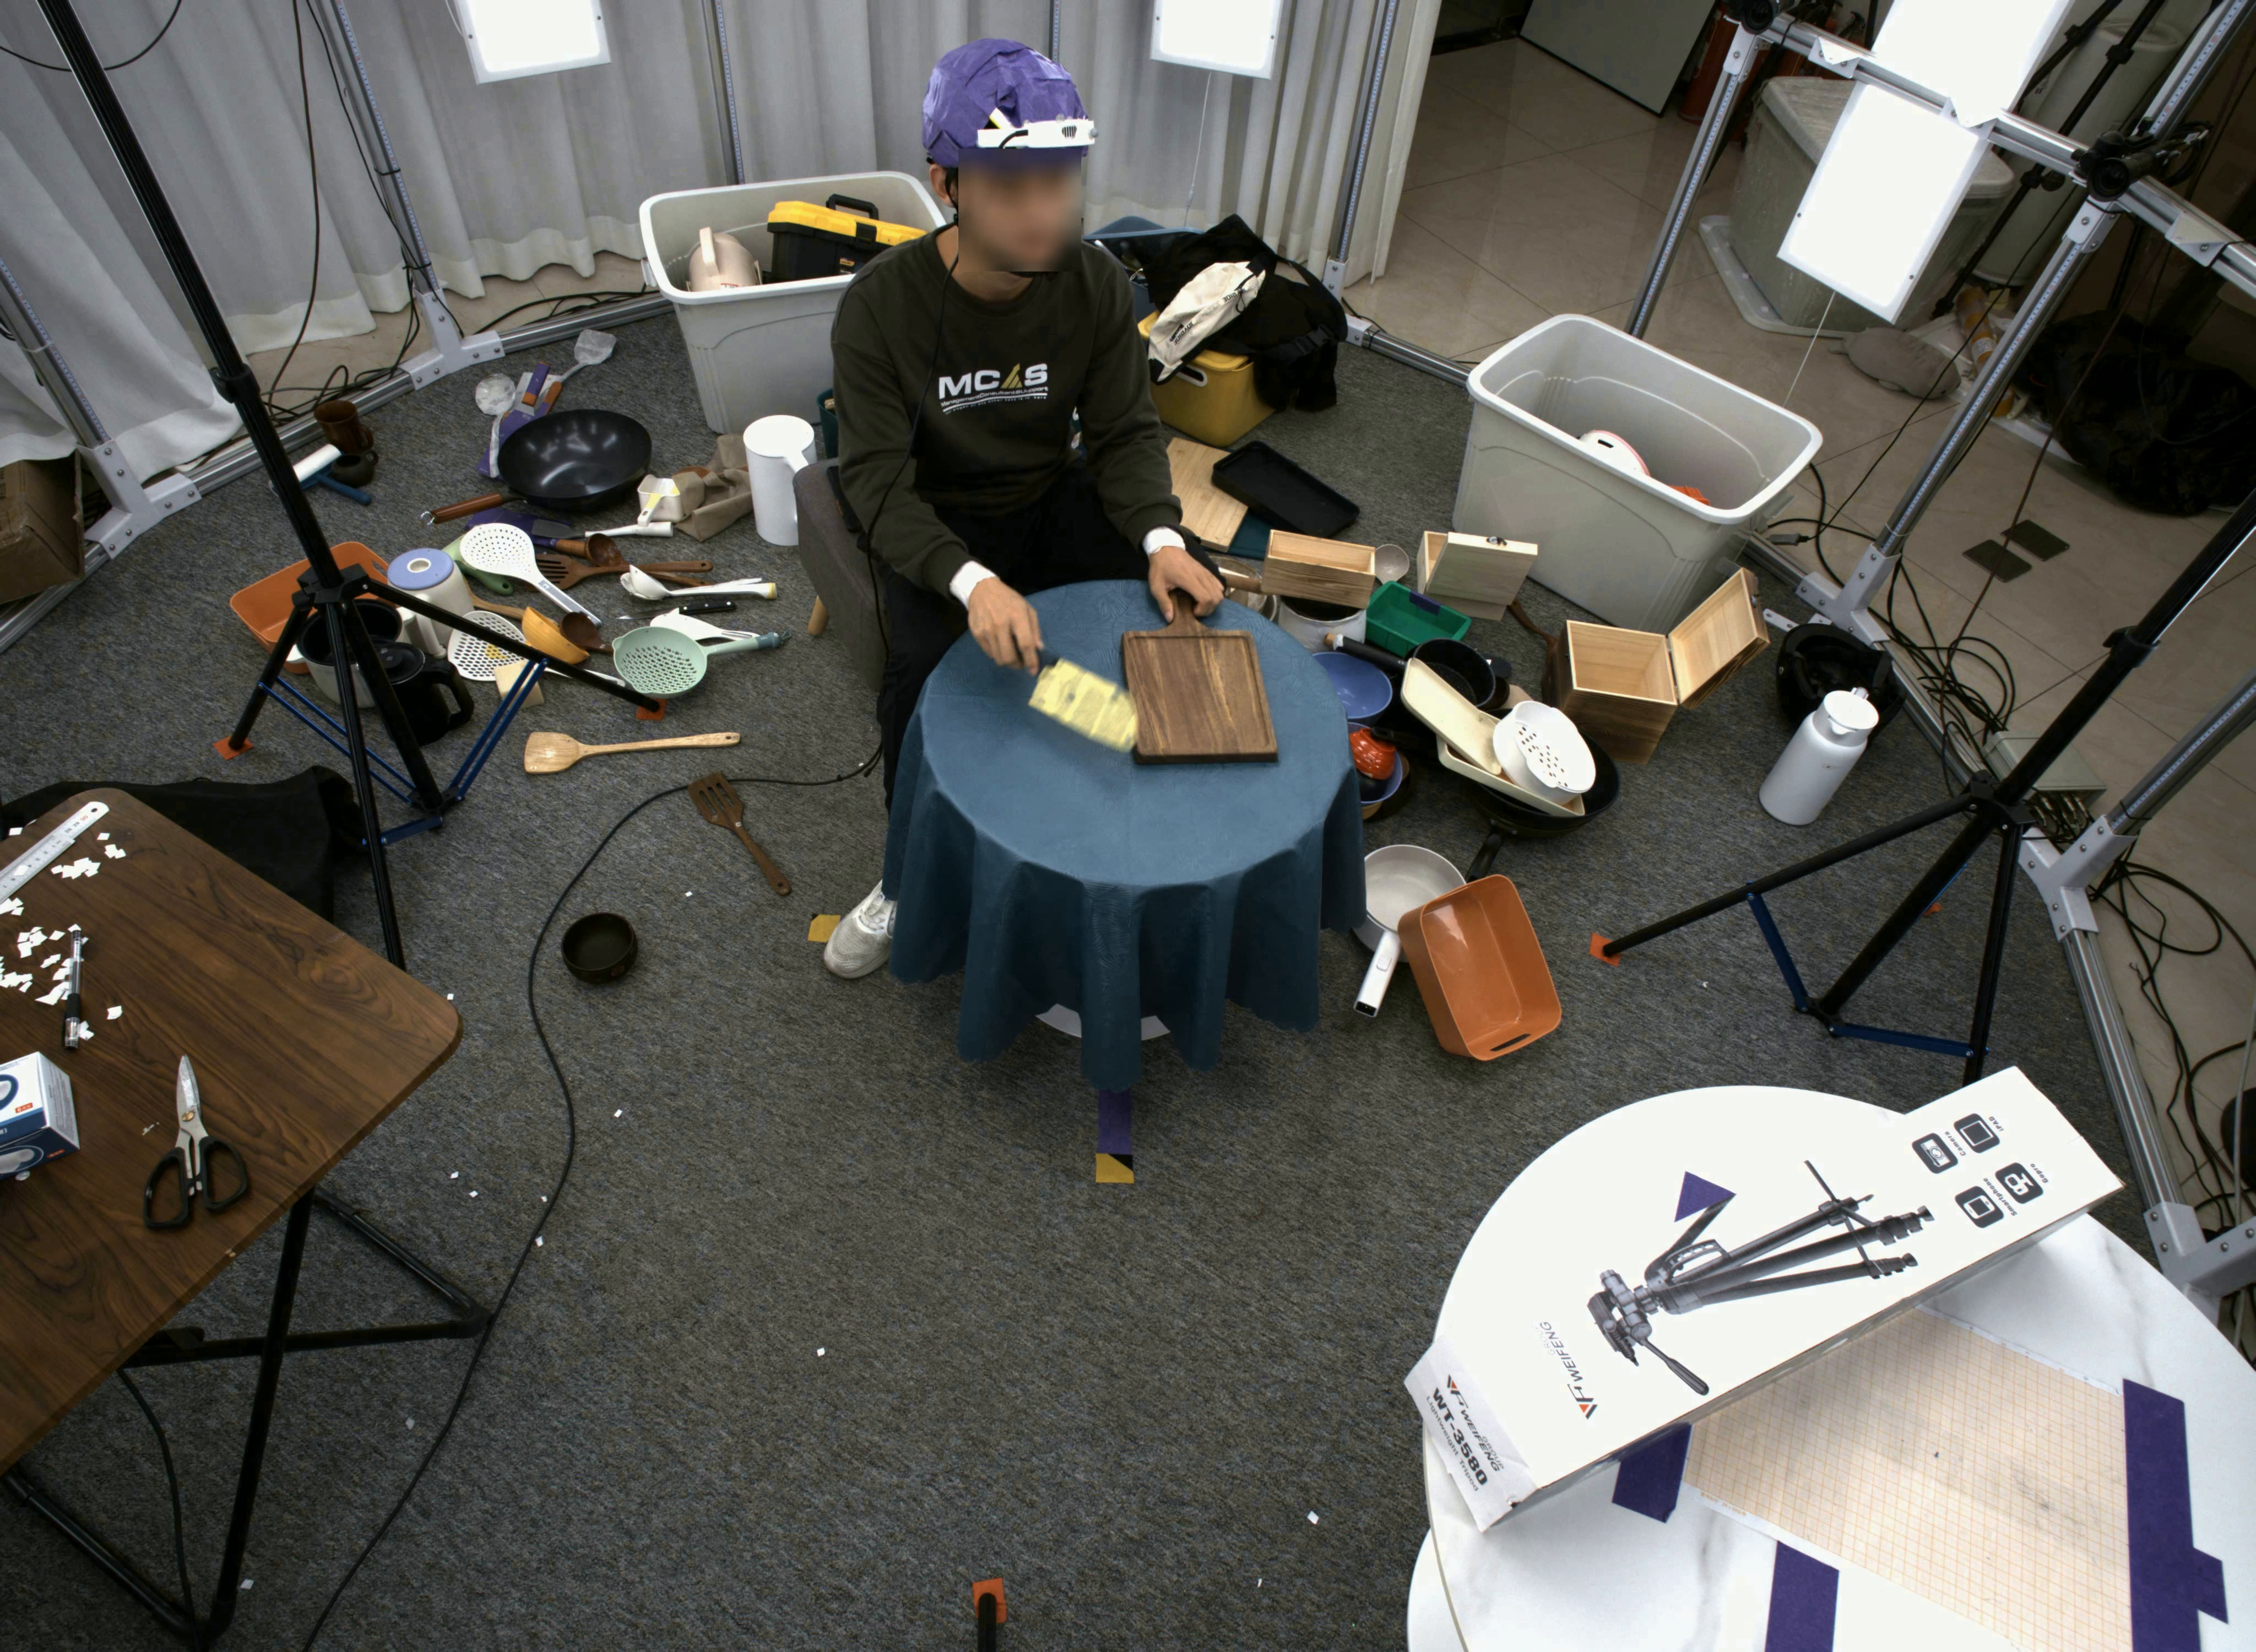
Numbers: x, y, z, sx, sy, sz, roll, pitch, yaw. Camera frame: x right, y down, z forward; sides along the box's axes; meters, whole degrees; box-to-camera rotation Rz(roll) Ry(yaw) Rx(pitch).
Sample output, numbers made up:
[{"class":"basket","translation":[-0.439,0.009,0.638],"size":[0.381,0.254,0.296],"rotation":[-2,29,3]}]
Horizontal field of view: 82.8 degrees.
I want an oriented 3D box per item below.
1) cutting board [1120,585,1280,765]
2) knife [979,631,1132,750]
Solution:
[{"class":"cutting board","translation":[0.094,-0.226,1.856],"size":[0.201,0.022,0.361],"rotation":[-2,49,-6]},{"class":"knife","translation":[-0.104,-0.186,1.747],"size":[0.293,0.027,0.081],"rotation":[35,97,27]}]
